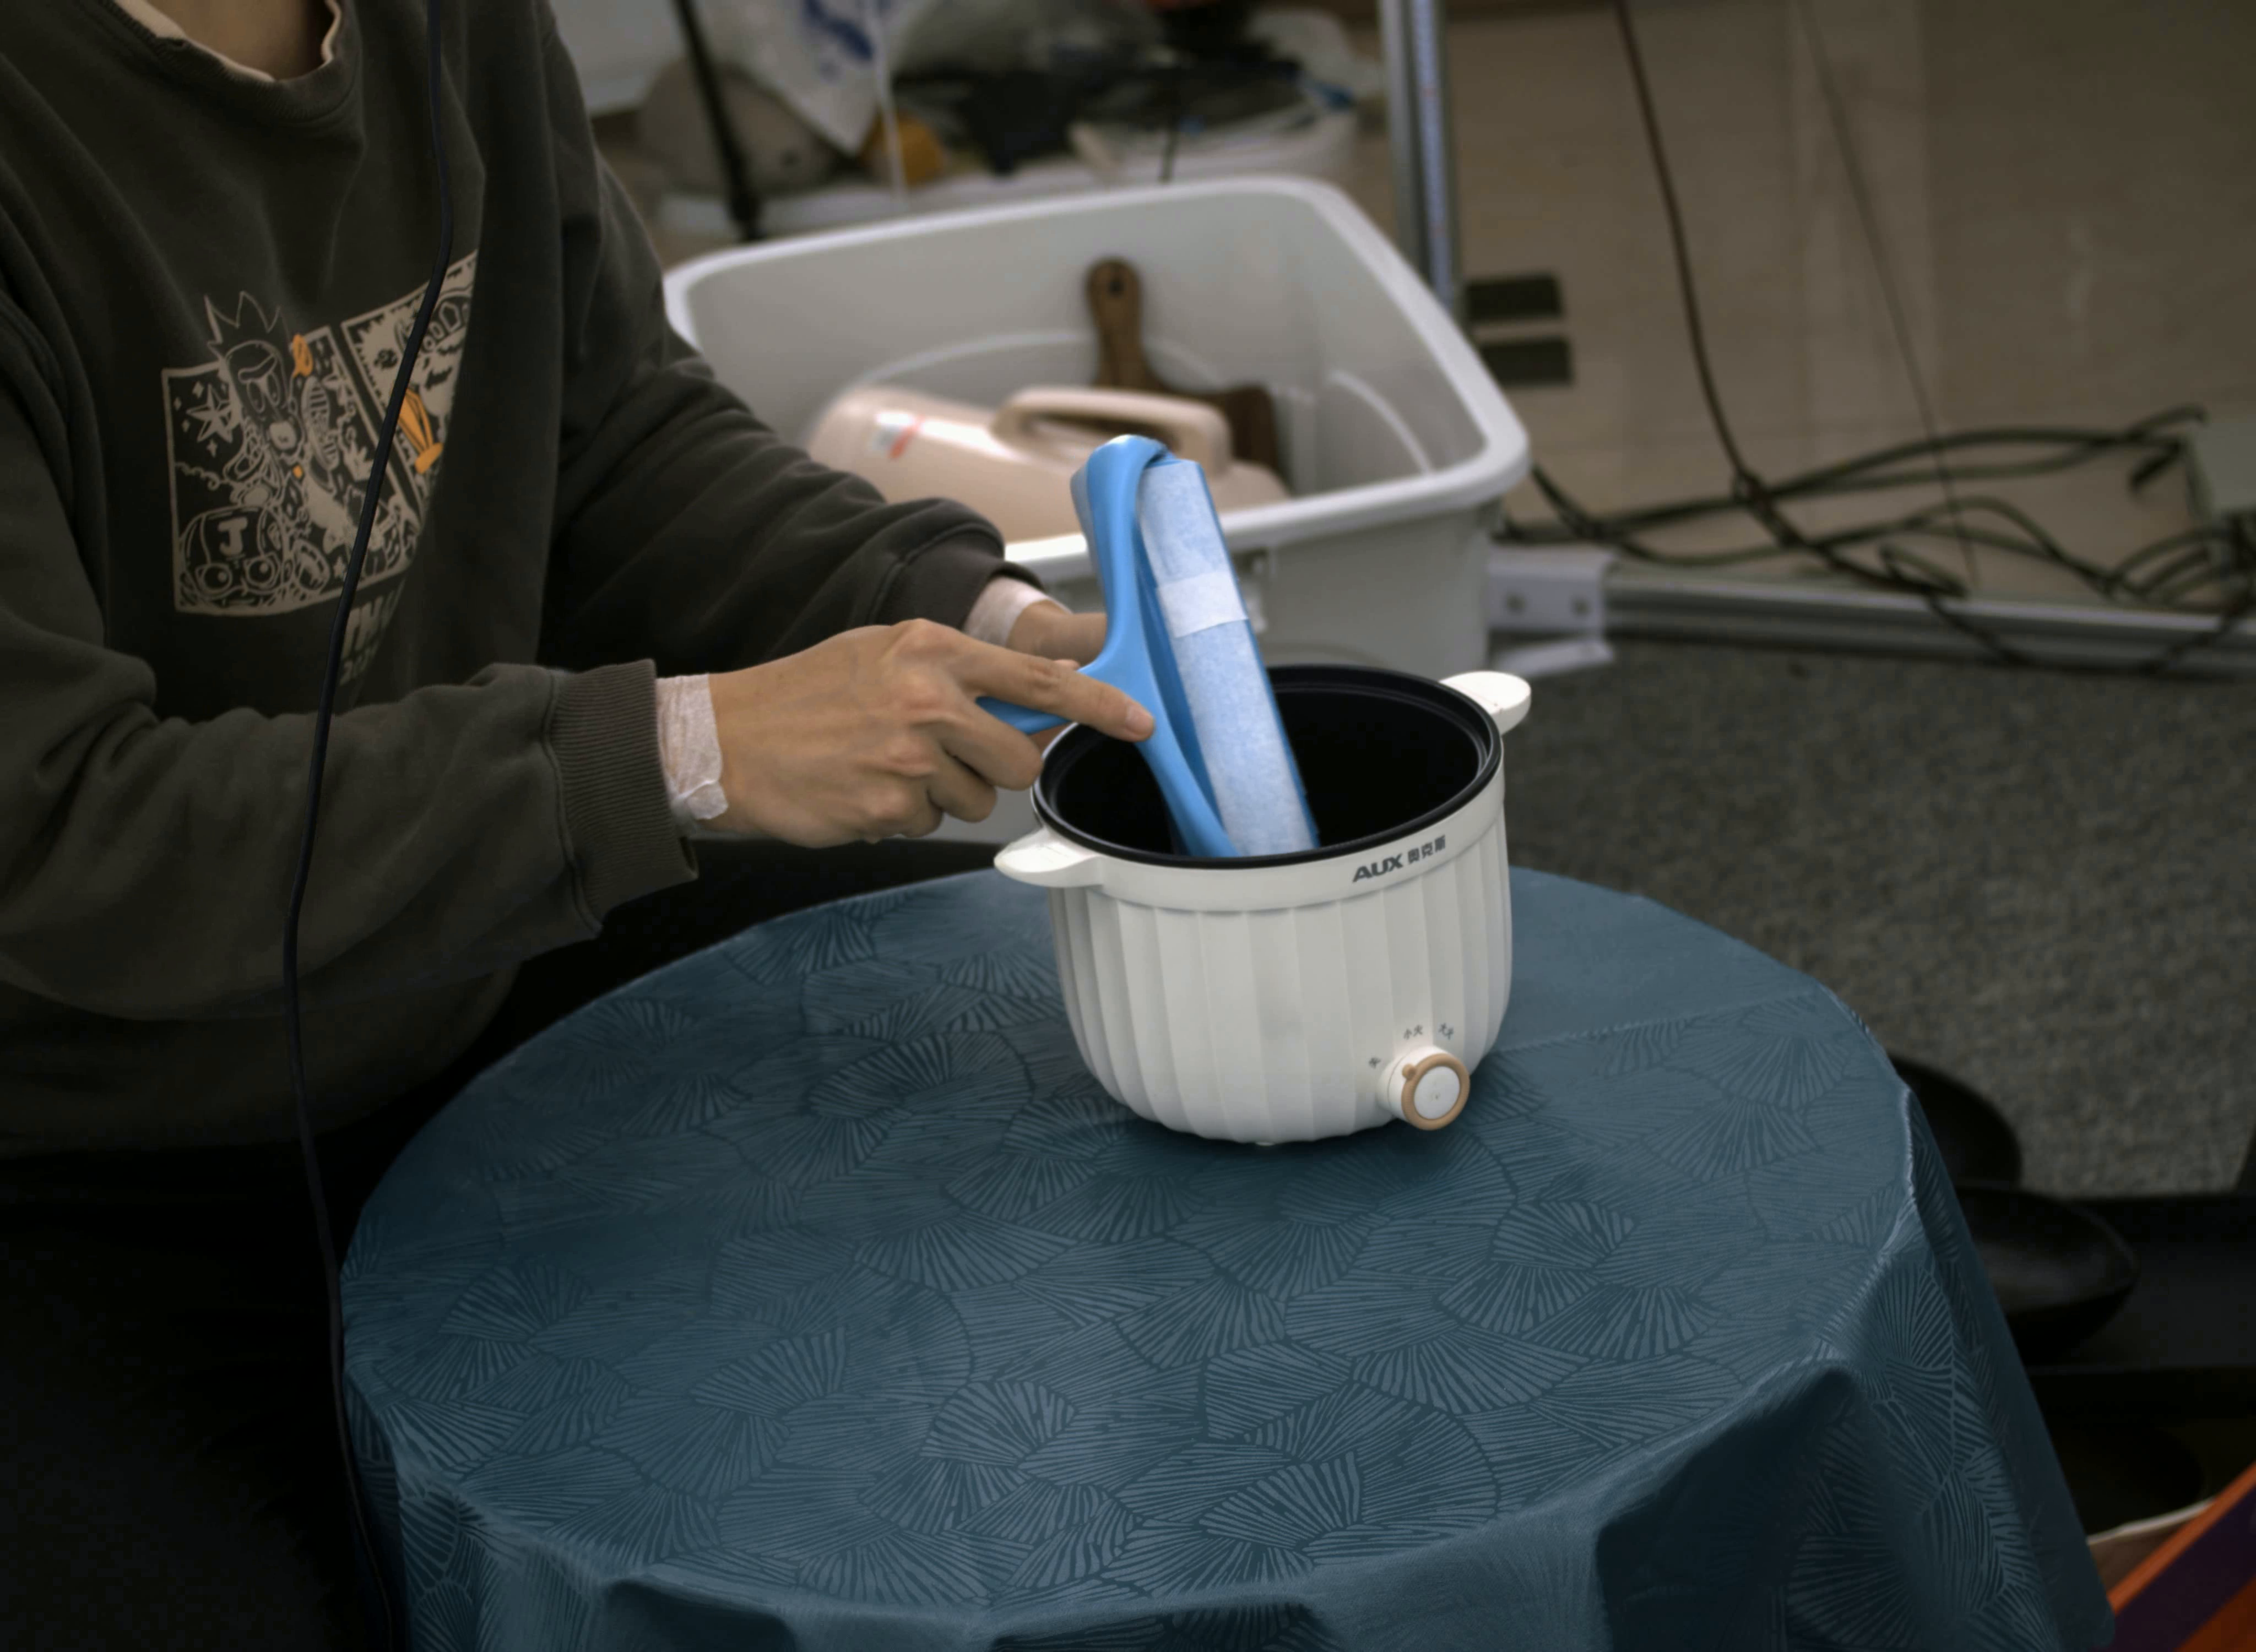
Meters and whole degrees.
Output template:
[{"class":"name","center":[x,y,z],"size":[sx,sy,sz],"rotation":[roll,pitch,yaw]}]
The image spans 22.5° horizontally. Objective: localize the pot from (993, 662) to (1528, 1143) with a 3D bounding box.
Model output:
[{"class":"pot","center":[0.063,0.035,2.188],"size":[0.239,0.145,0.189],"rotation":[-22,26,-26]}]

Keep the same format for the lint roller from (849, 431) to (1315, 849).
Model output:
[{"class":"lint roller","center":[-0.016,-0.040,2.157],"size":[0.180,0.227,0.068],"rotation":[-9,-14,-39]}]
